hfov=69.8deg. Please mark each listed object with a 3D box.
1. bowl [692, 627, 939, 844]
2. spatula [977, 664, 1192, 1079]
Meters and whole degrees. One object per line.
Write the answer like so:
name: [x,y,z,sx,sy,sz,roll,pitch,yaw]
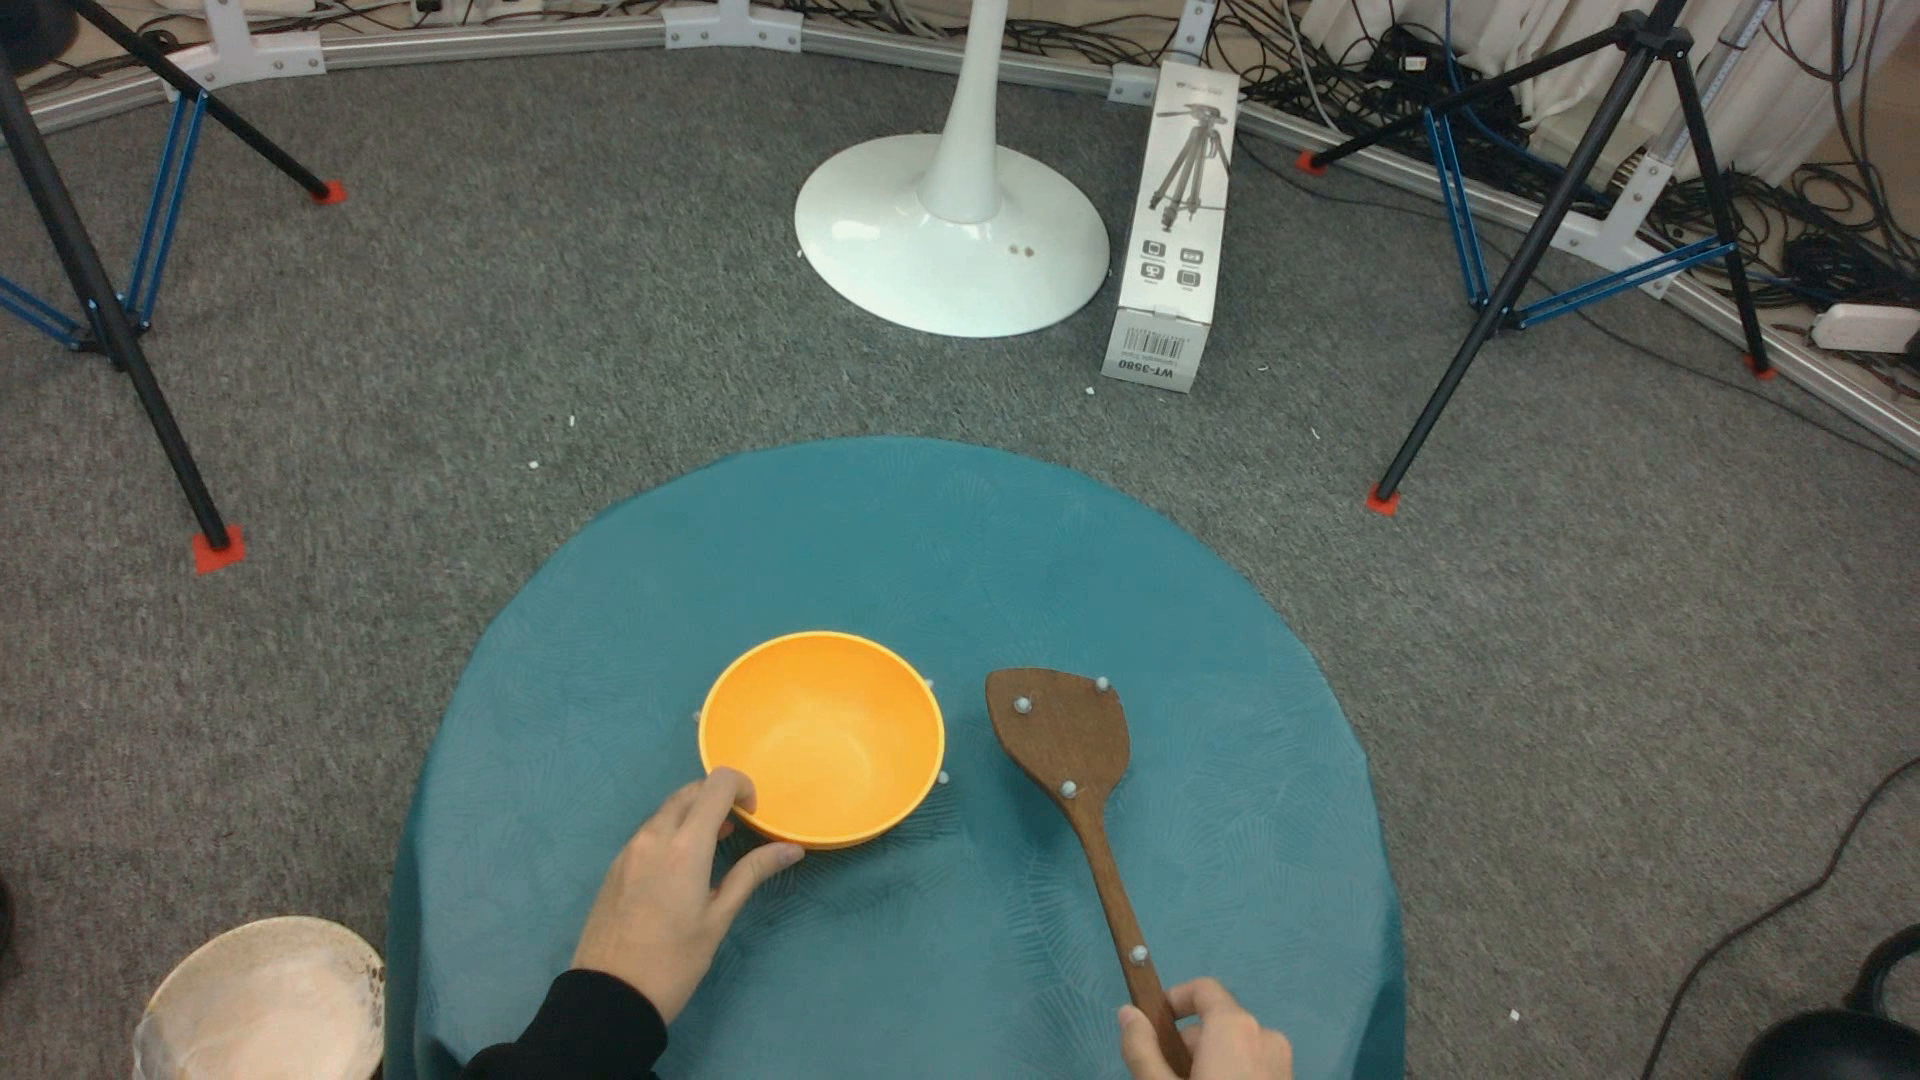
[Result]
bowl: [-0.087,0.127,0.832,0.145,0.060,0.146,4,50,-5]
spatula: [0.085,0.204,0.739,0.096,0.015,0.387,9,37,-20]
